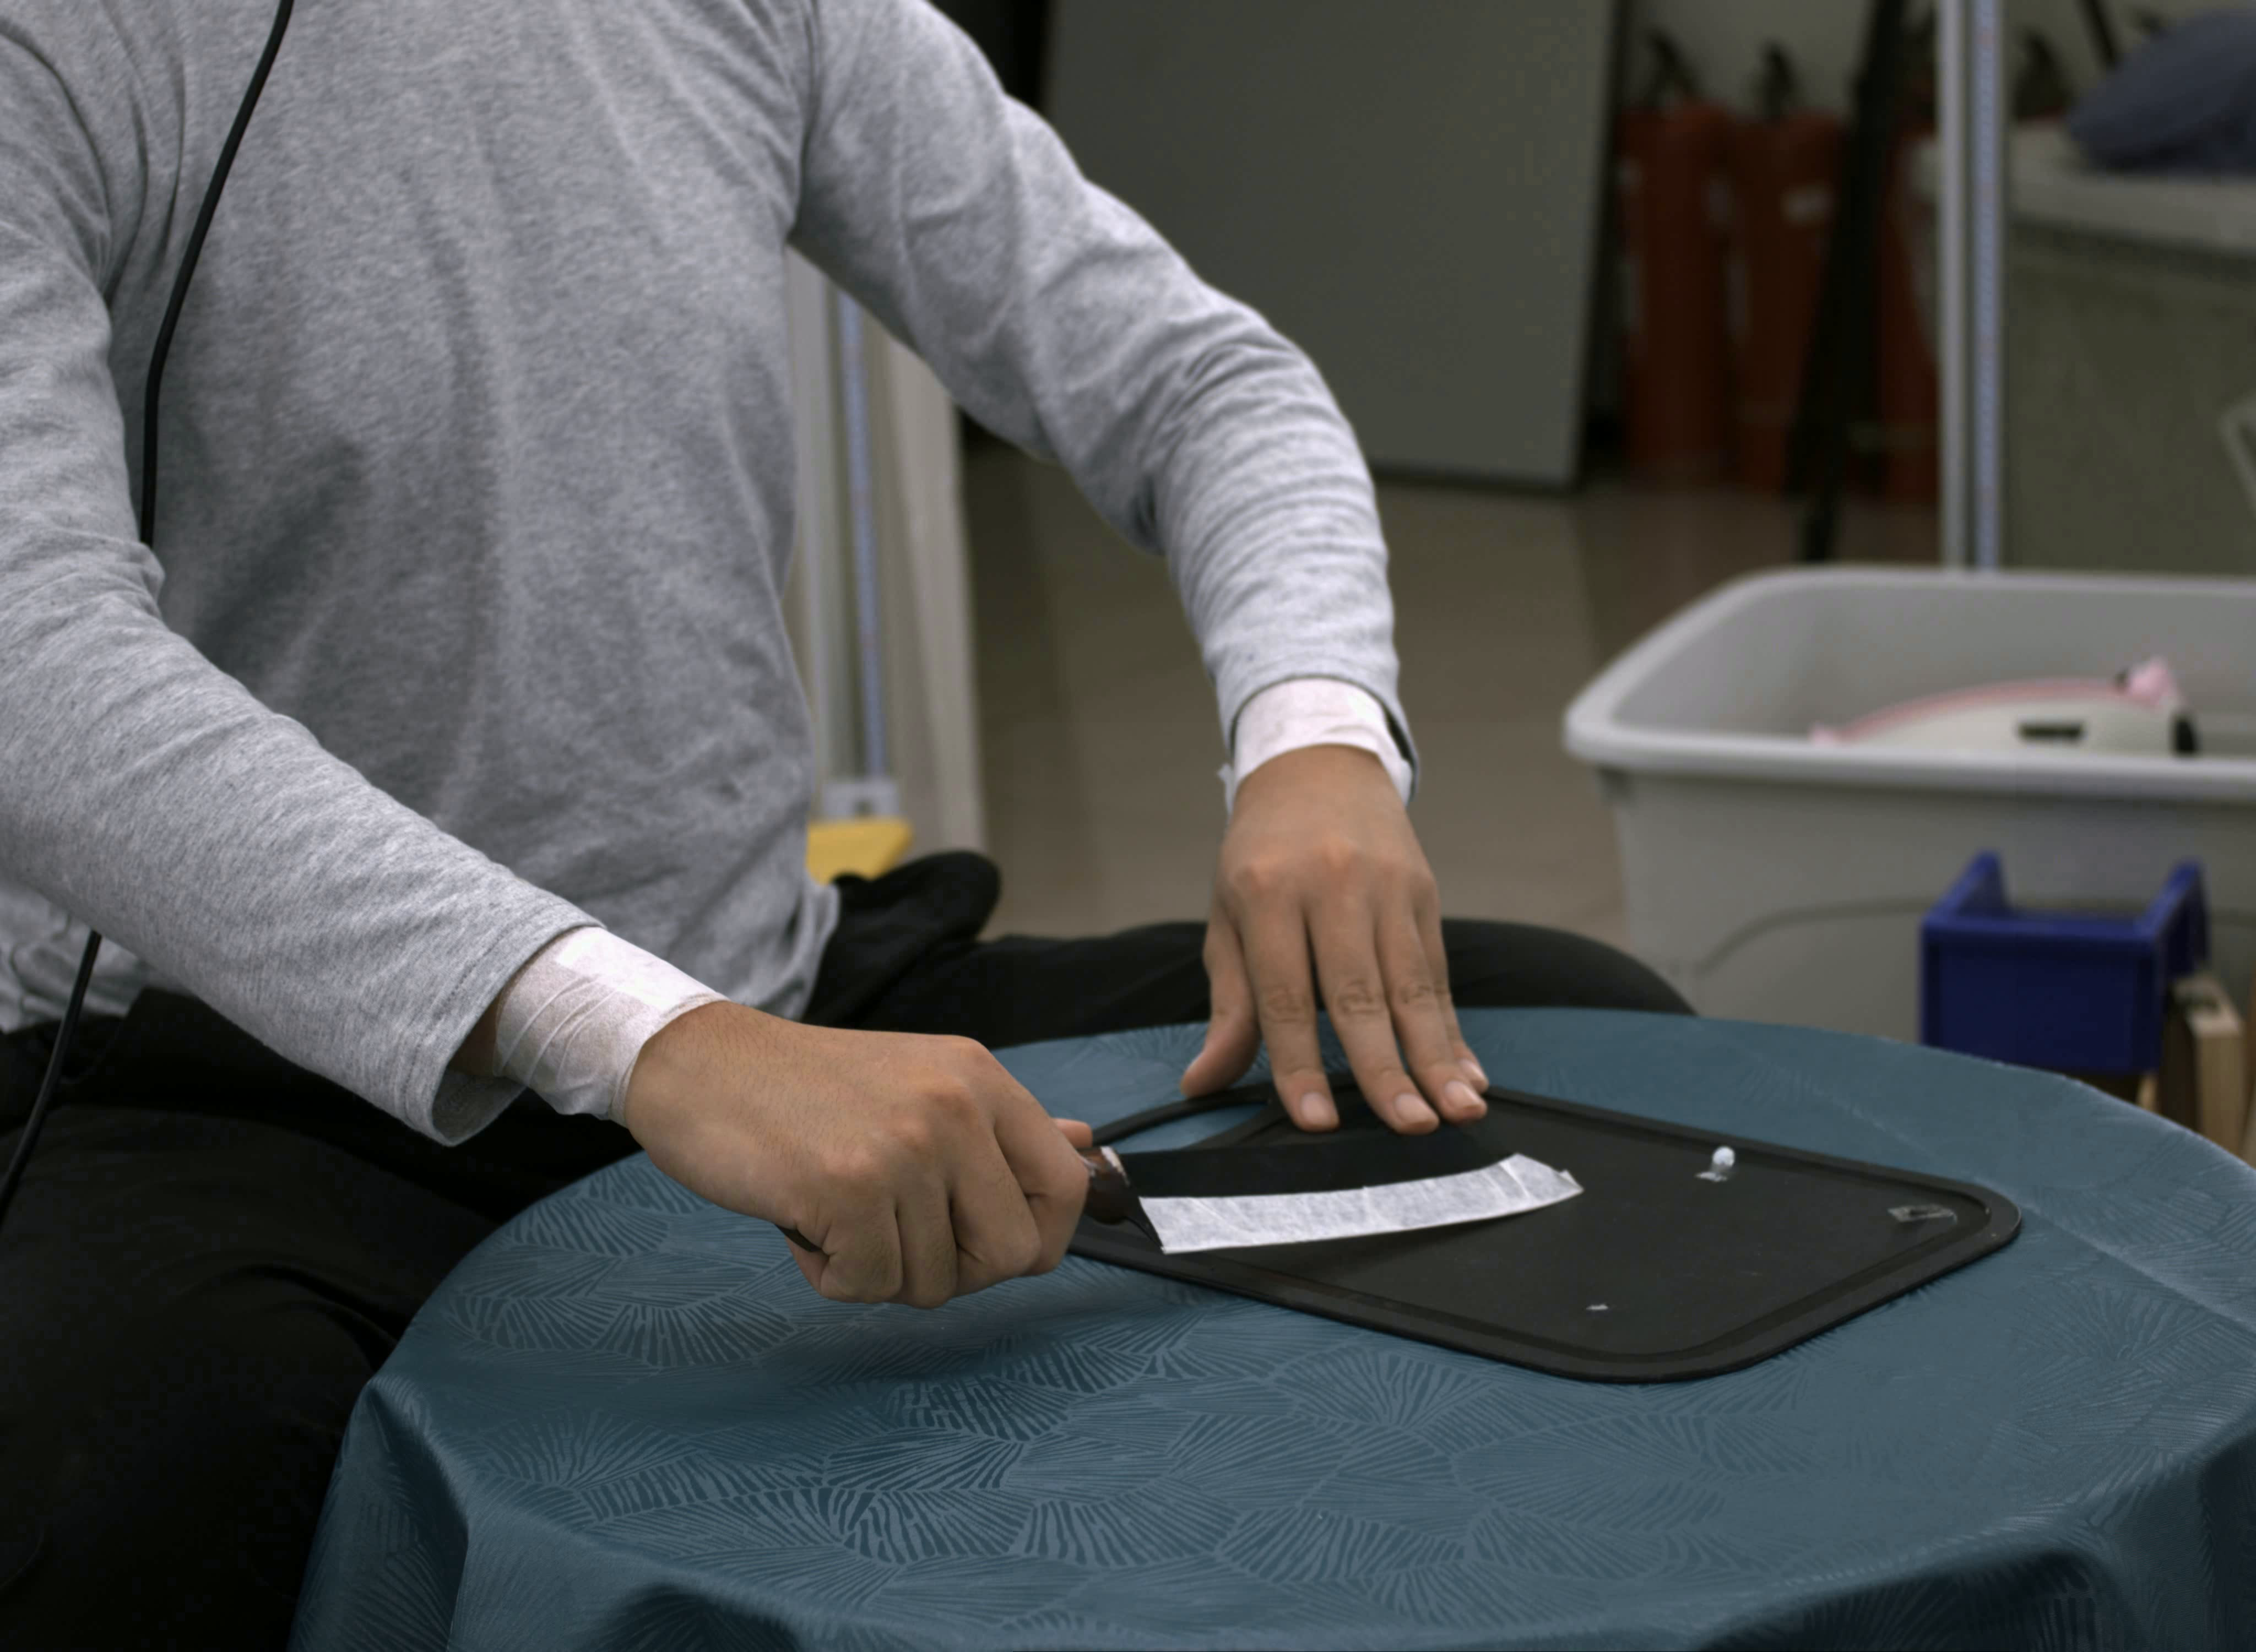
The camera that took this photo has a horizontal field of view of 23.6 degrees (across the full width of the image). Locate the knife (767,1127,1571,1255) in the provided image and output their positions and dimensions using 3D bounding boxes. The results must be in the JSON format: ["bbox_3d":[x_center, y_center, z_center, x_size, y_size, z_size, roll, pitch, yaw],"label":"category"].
[{"bbox_3d":[0.019,0.114,1.673,0.282,0.020,0.051,0,41,-29],"label":"knife"}]

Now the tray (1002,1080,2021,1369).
[{"bbox_3d":[0.111,0.122,1.727,0.207,0.010,0.328,-16,18,-42],"label":"tray"}]
